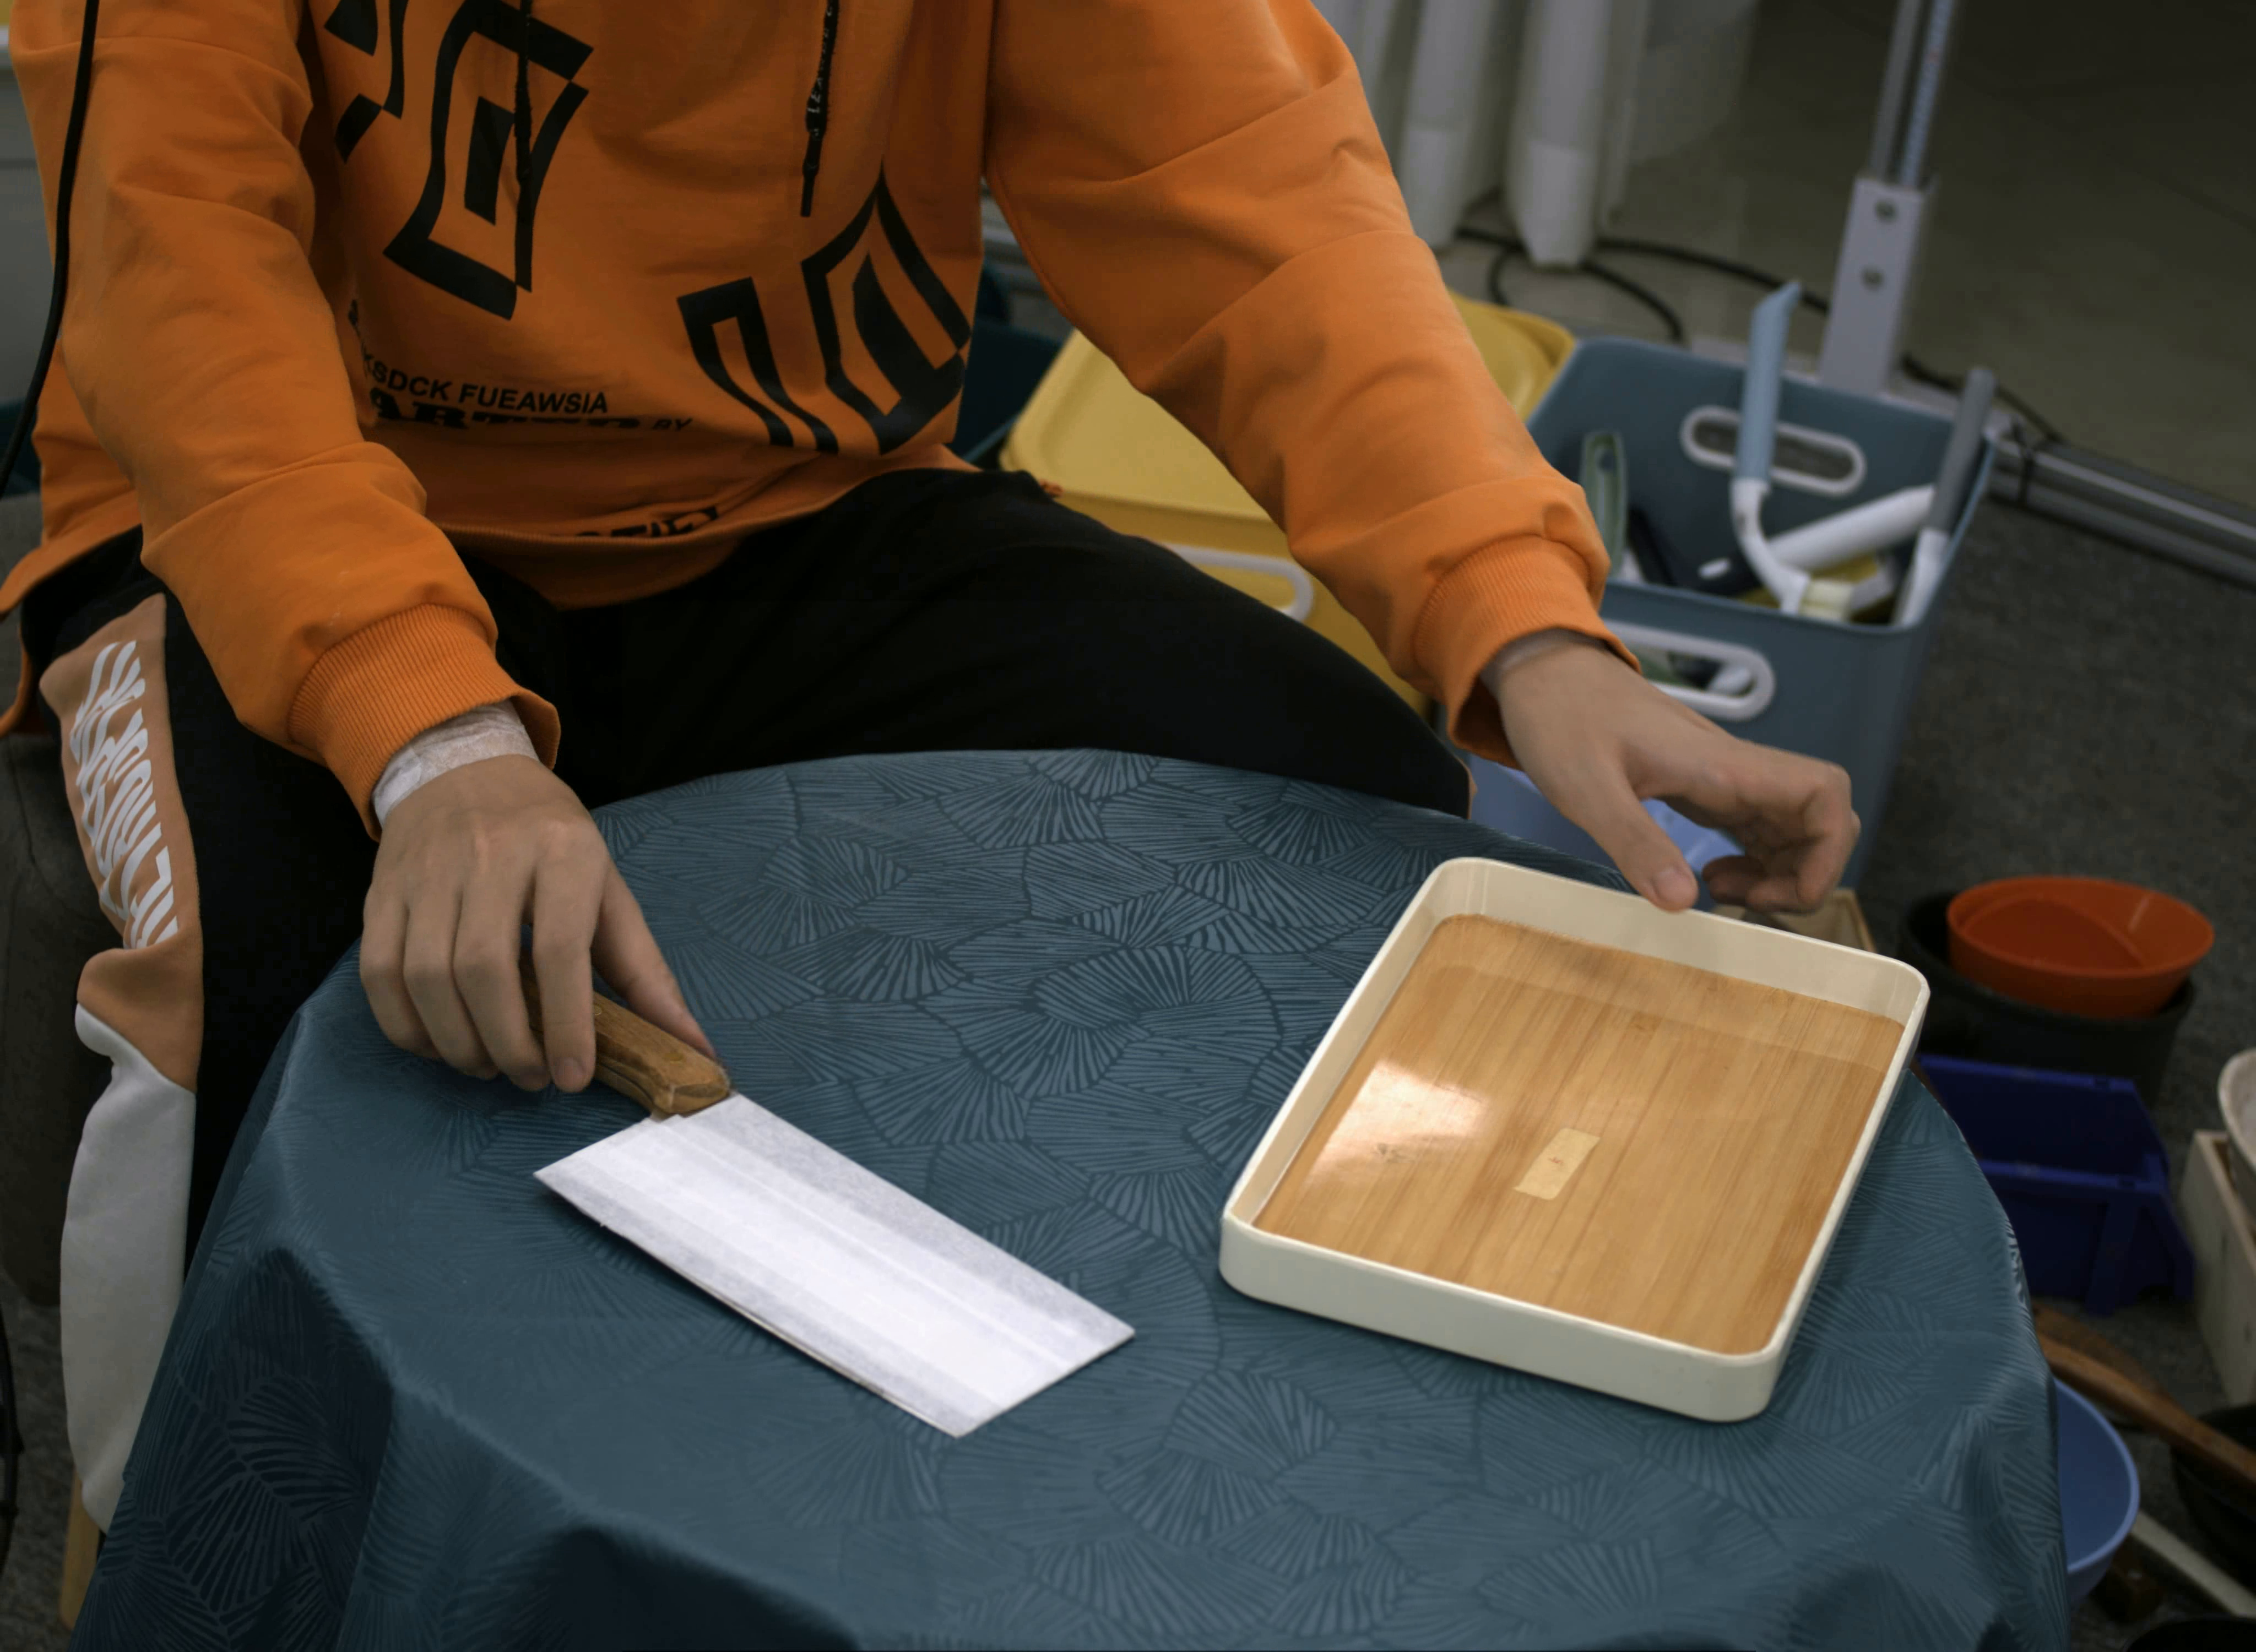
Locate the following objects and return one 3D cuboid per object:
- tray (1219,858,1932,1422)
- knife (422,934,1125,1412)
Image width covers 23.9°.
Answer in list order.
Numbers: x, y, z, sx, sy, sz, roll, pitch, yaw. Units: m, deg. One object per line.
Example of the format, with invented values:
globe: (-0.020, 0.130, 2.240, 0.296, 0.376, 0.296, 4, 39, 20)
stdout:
tray: (0.161, 0.103, 1.850, 0.192, 0.027, 0.301, 14, 28, 14)
knife: (-0.139, 0.116, 1.770, 0.308, 0.021, 0.092, 28, 35, 32)
